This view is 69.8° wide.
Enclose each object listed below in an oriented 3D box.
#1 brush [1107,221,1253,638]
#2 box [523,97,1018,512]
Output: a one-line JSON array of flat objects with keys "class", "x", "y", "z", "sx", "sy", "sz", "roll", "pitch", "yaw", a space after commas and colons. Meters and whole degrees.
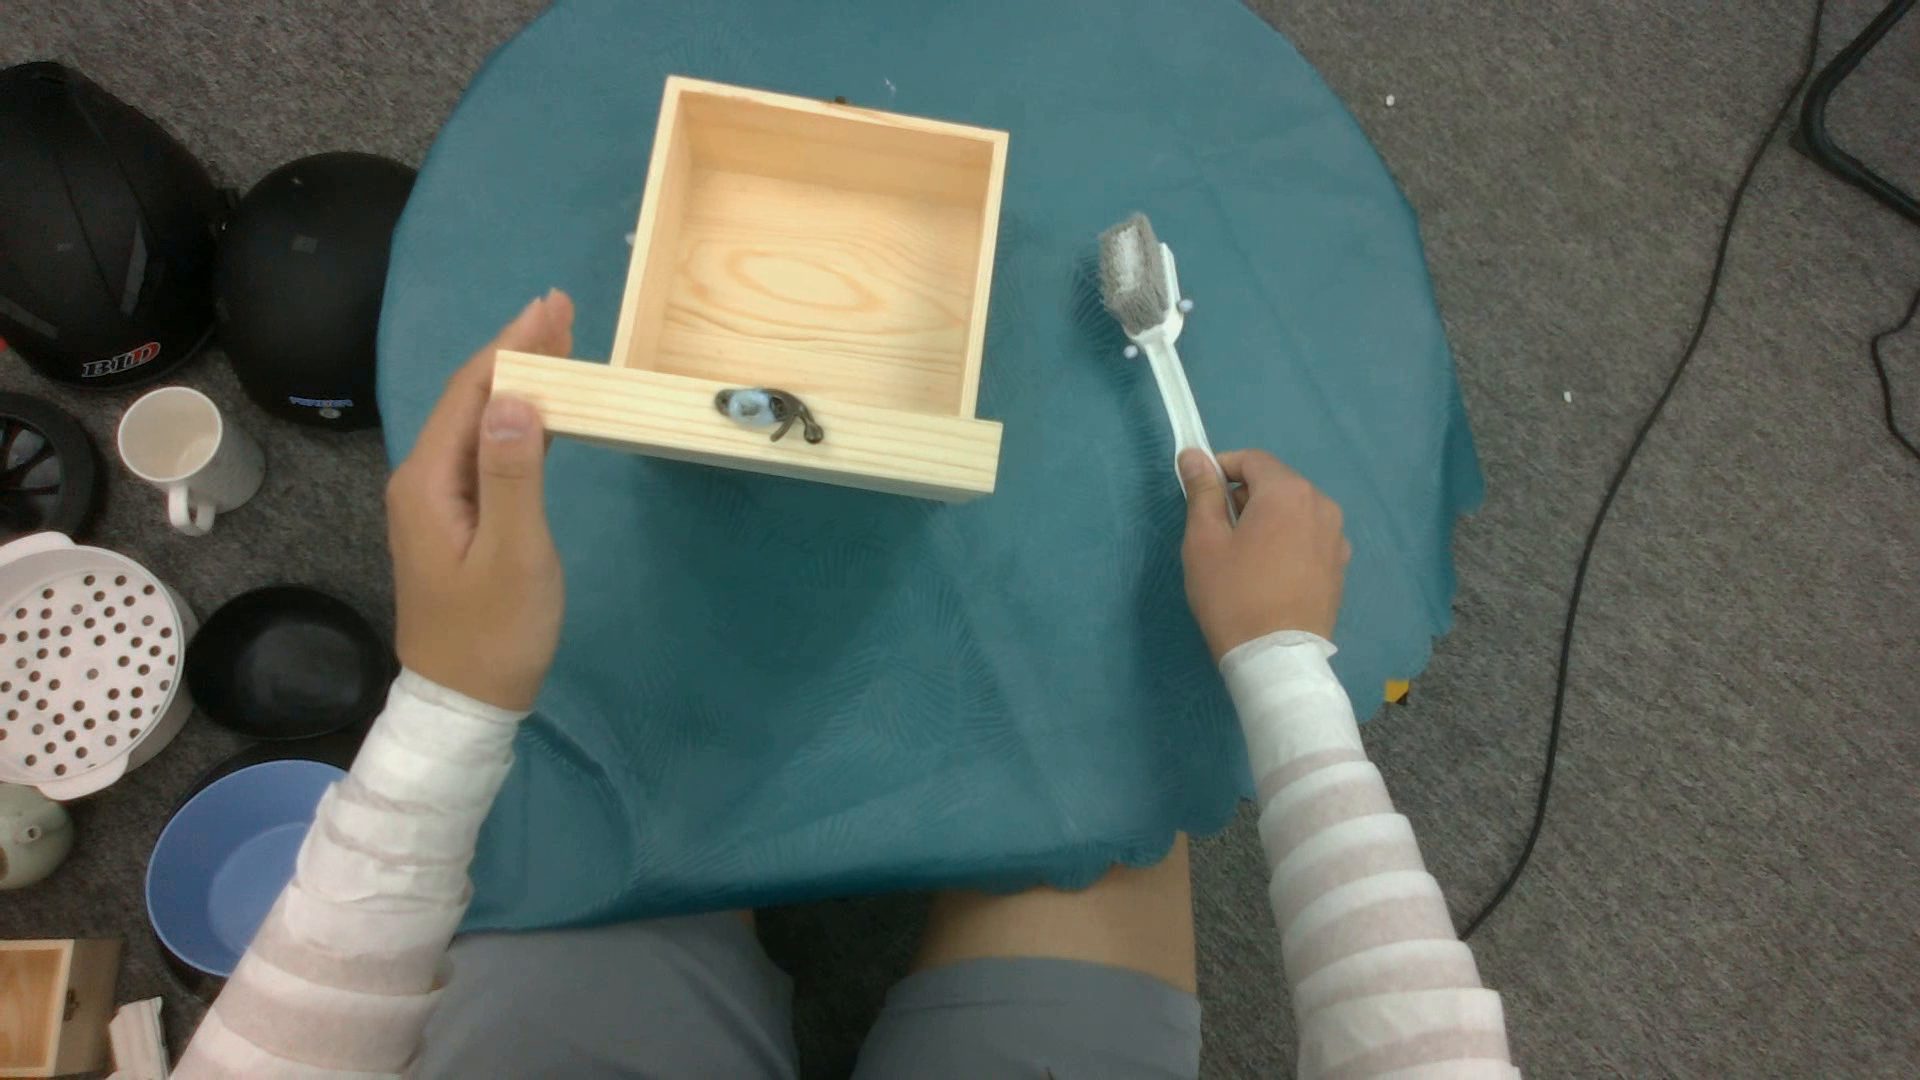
[{"class": "brush", "x": 0.116, "y": -0.065, "z": 0.745, "sx": 0.034, "sy": 0.050, "sz": 0.244, "roll": -21, "pitch": 64, "yaw": 27}, {"class": "box", "x": -0.070, "y": -0.121, "z": 0.658, "sx": 0.182, "sy": 0.252, "sz": 0.266, "roll": 7, "pitch": 73, "yaw": -5}]
